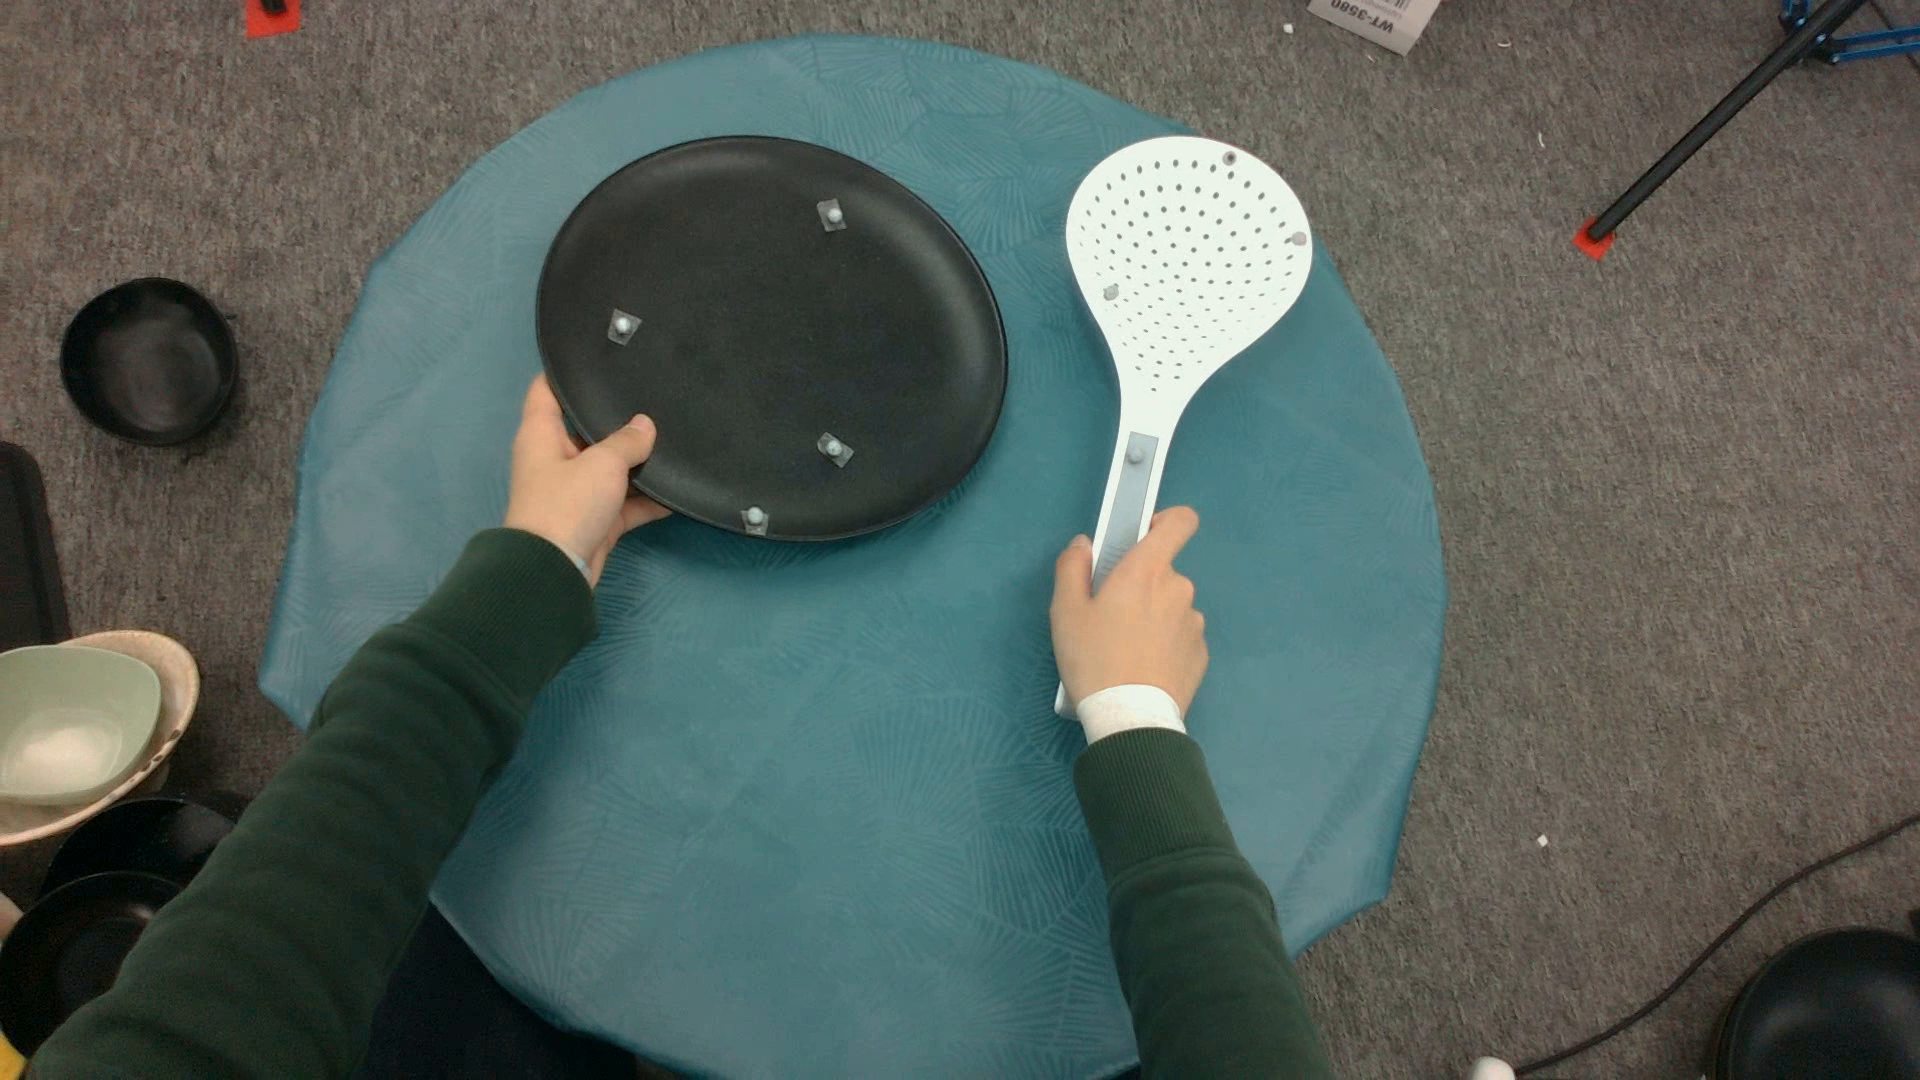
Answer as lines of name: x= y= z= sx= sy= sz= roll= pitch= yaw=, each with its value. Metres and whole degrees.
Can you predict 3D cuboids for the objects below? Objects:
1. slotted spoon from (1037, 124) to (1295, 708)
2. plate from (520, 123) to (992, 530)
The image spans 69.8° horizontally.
slotted spoon: x=0.093 y=-0.077 z=0.733 sx=0.136 sy=0.045 sz=0.351 roll=14 pitch=63 yaw=4
plate: x=-0.102 y=-0.113 z=0.719 sx=0.244 sy=0.023 sz=0.245 roll=7 pitch=65 yaw=-15
